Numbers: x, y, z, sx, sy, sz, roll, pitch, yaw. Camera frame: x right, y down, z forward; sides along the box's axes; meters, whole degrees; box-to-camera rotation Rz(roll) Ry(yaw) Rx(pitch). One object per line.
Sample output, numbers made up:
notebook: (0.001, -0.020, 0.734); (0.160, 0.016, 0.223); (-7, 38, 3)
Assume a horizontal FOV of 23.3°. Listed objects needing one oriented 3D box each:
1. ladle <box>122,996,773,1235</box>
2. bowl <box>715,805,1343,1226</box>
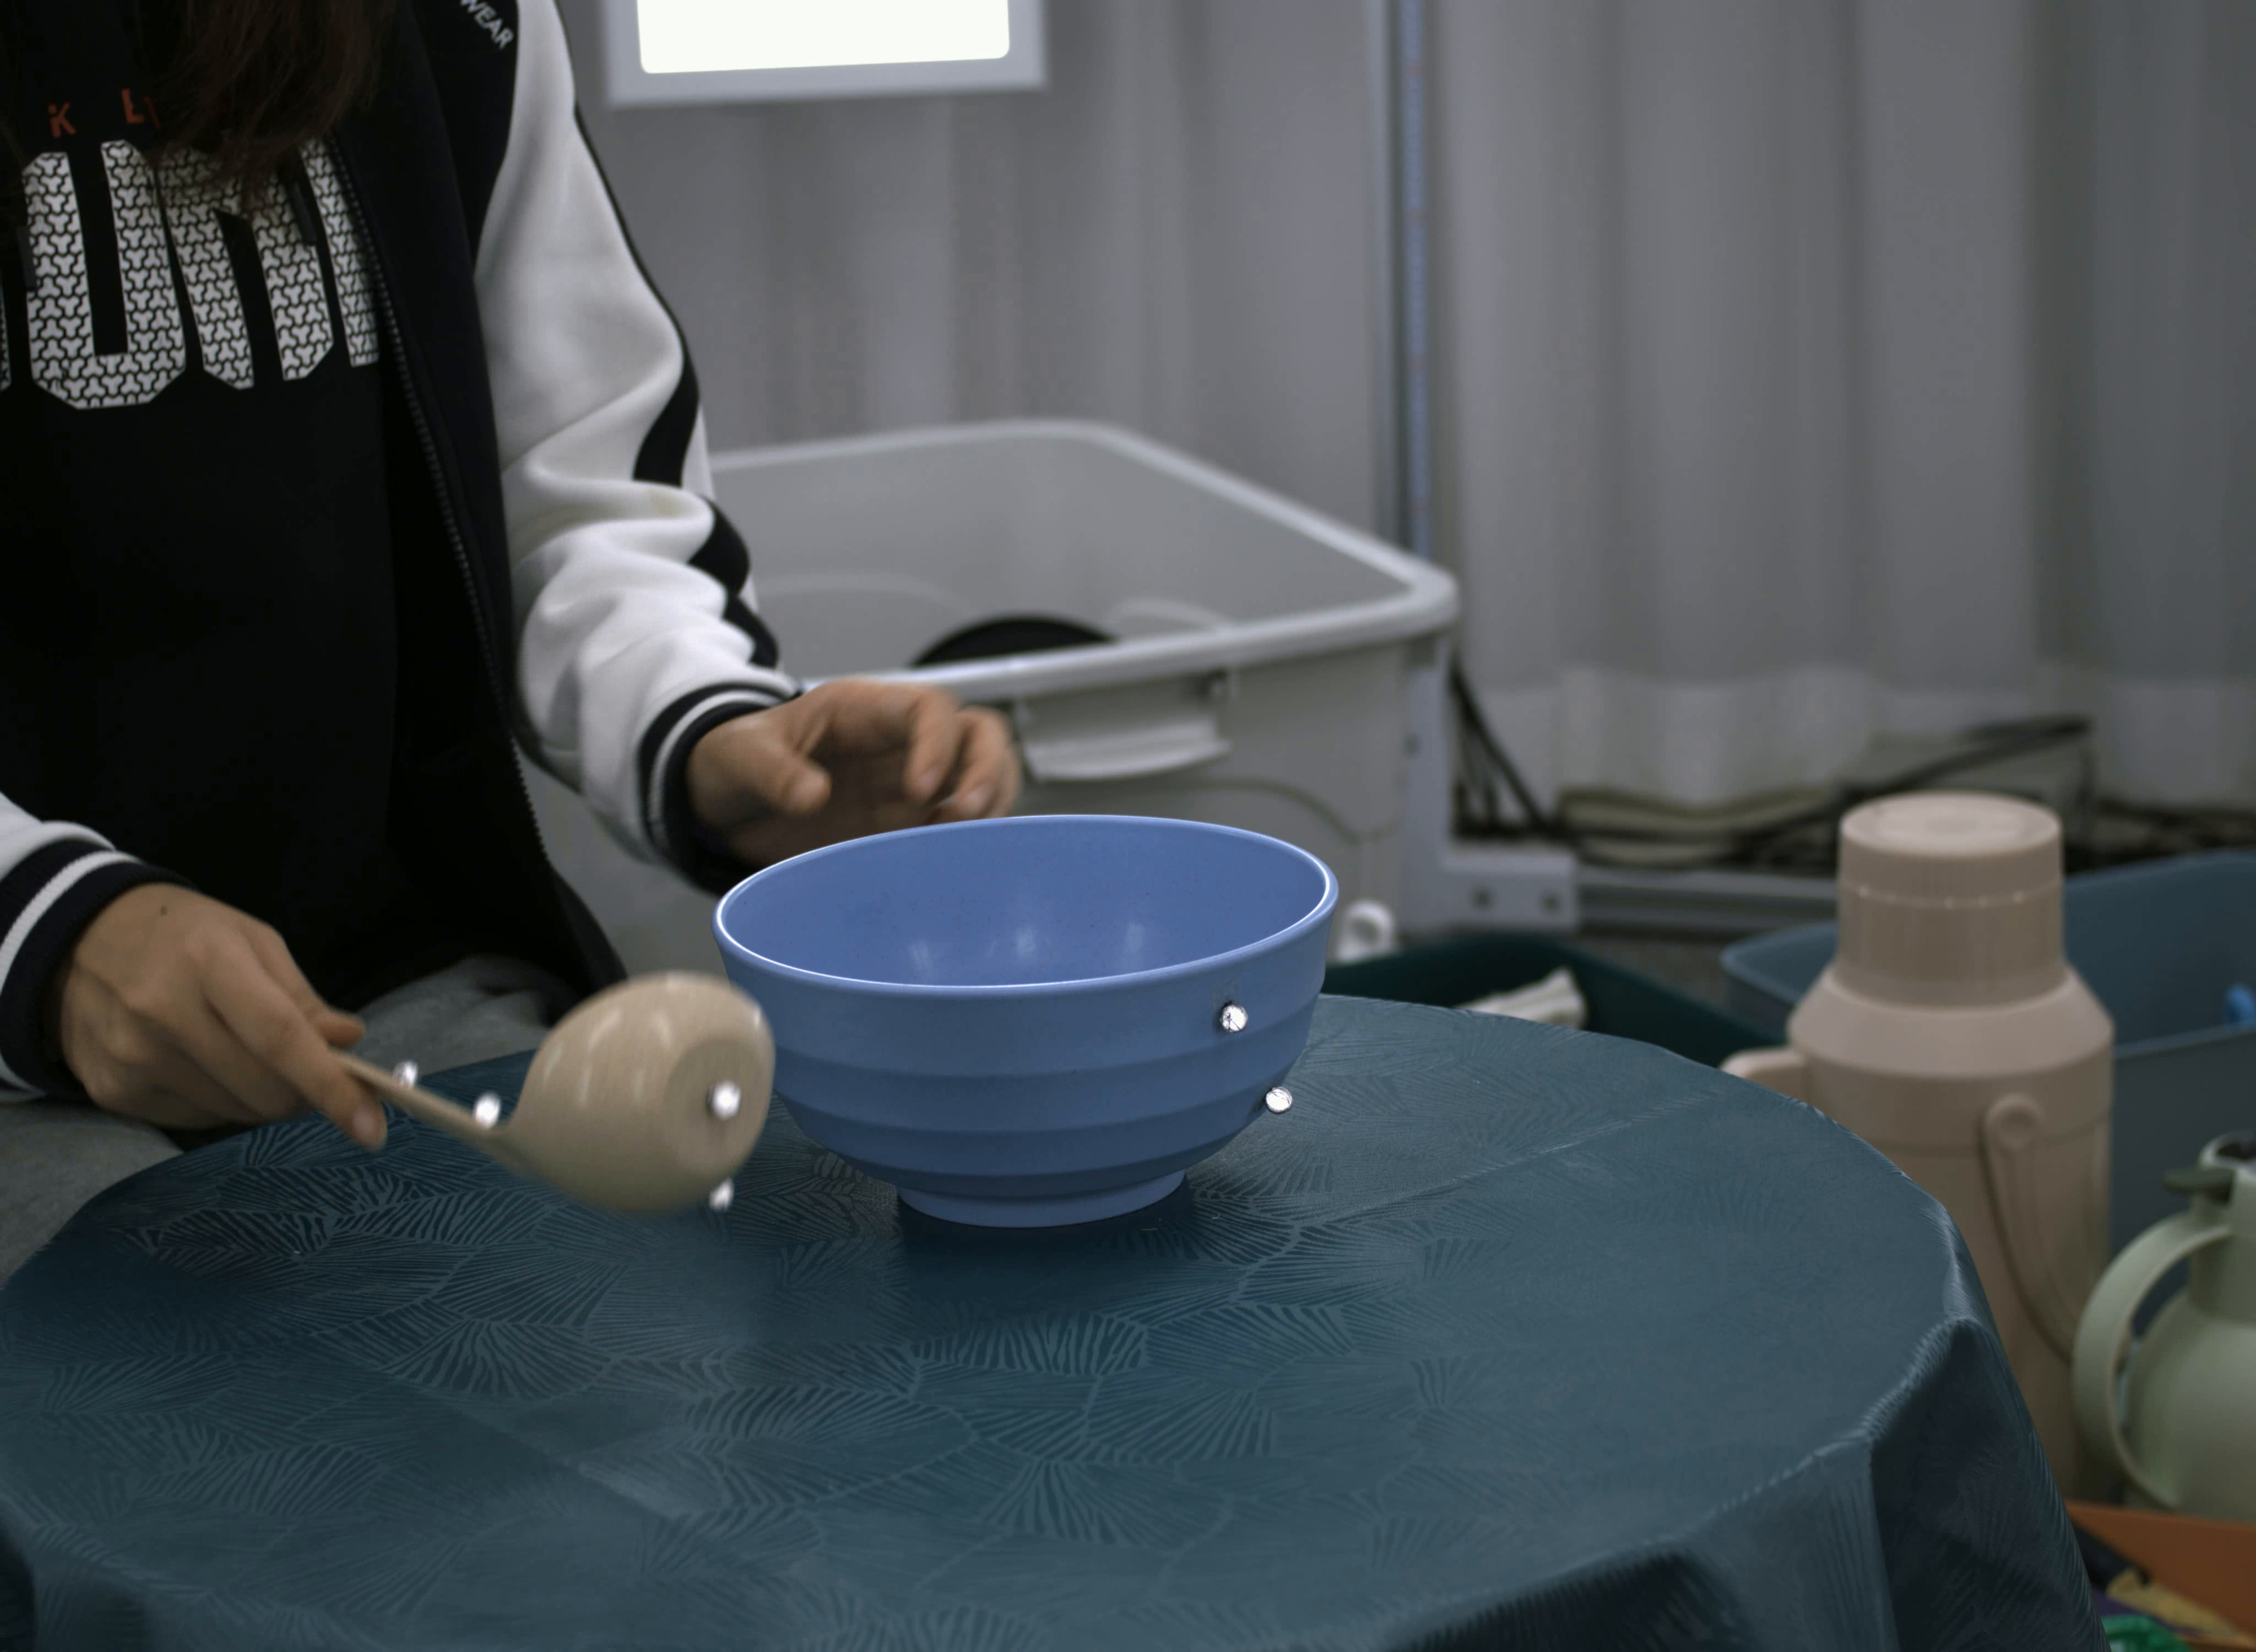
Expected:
ladle: (-0.203, 0.060, 1.622); (0.256, 0.071, 0.073); (17, 59, 45)
bowl: (-0.030, 0.066, 1.718); (0.196, 0.095, 0.198); (-1, 16, 0)
